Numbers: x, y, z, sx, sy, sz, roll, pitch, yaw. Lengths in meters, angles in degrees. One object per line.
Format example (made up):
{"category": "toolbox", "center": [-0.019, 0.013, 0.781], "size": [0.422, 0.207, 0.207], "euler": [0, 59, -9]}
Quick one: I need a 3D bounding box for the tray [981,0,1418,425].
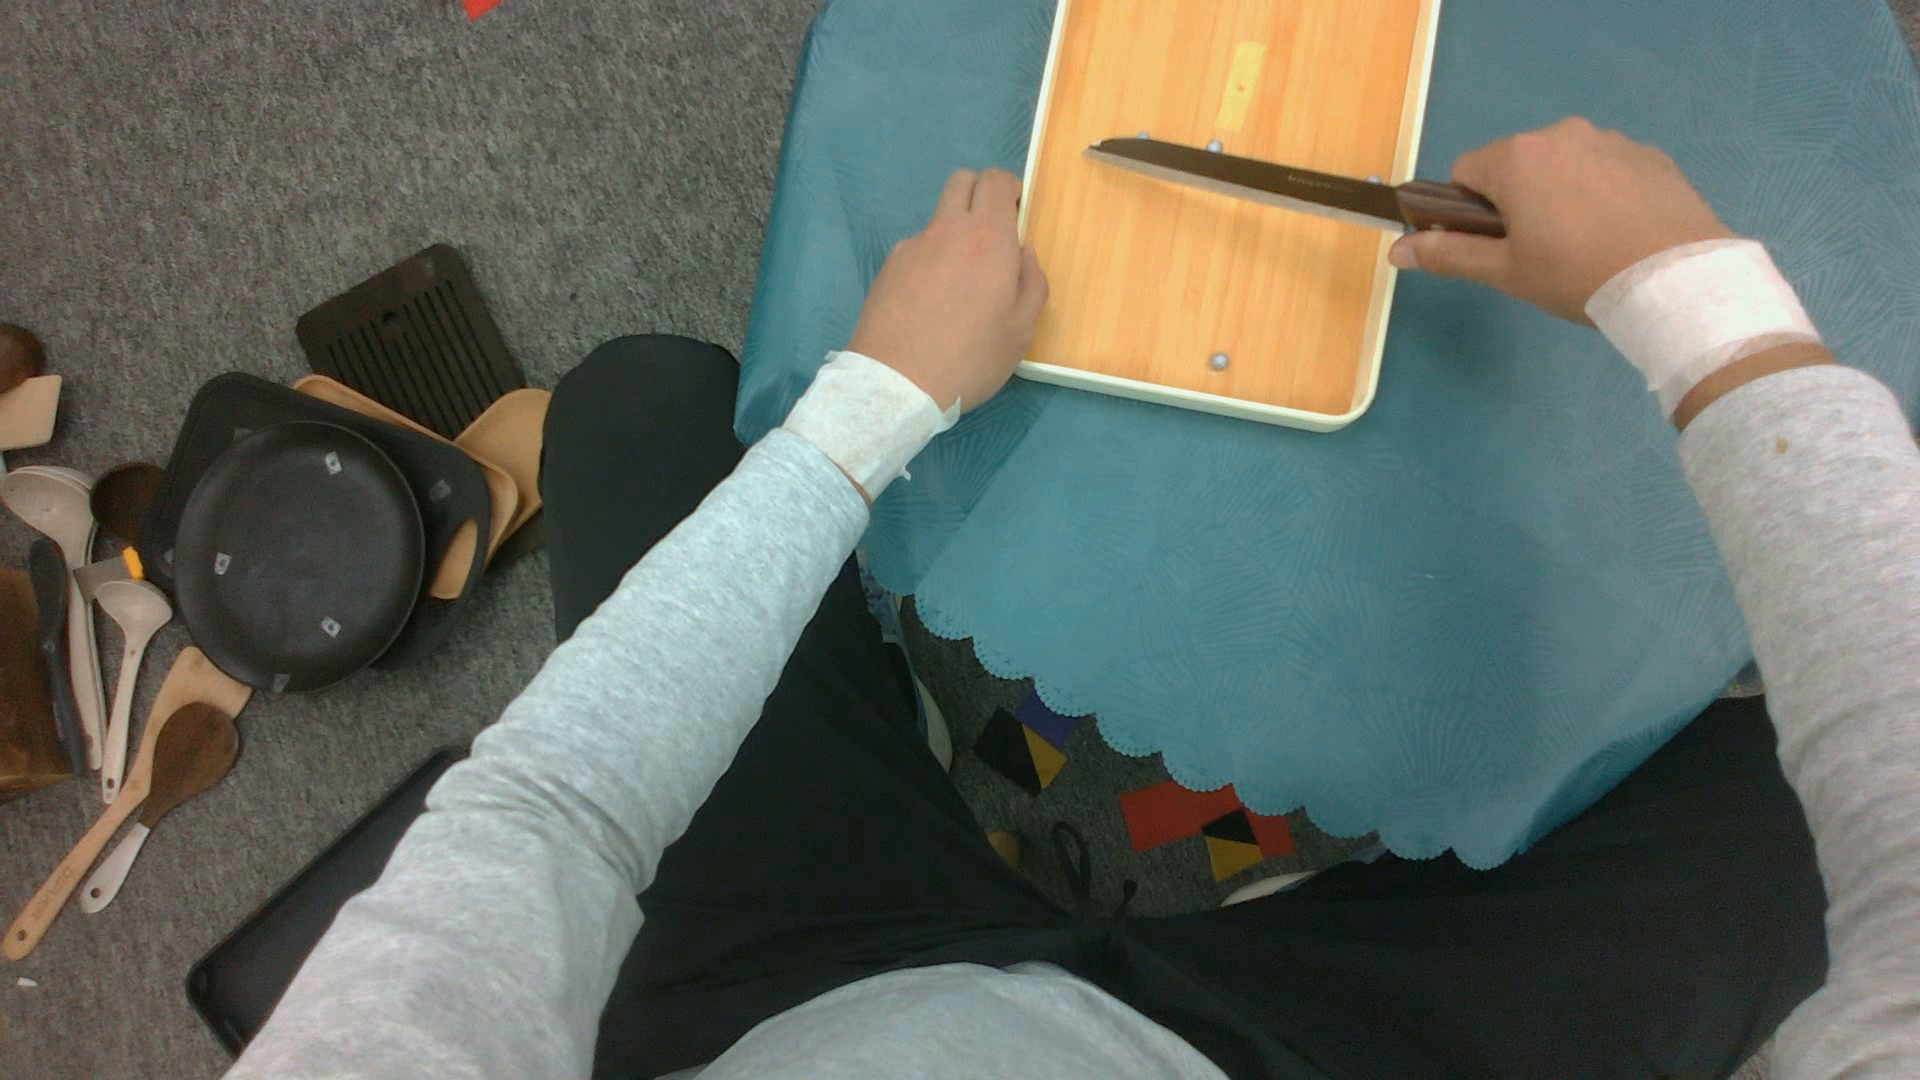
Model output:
{"category": "tray", "center": [0.128, -0.218, 0.713], "size": [0.191, 0.027, 0.300], "euler": [11, 82, 3]}

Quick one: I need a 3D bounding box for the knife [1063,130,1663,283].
{"category": "knife", "center": [0.181, -0.164, 0.662], "size": [0.289, 0.050, 0.020], "euler": [17, 79, 21]}
